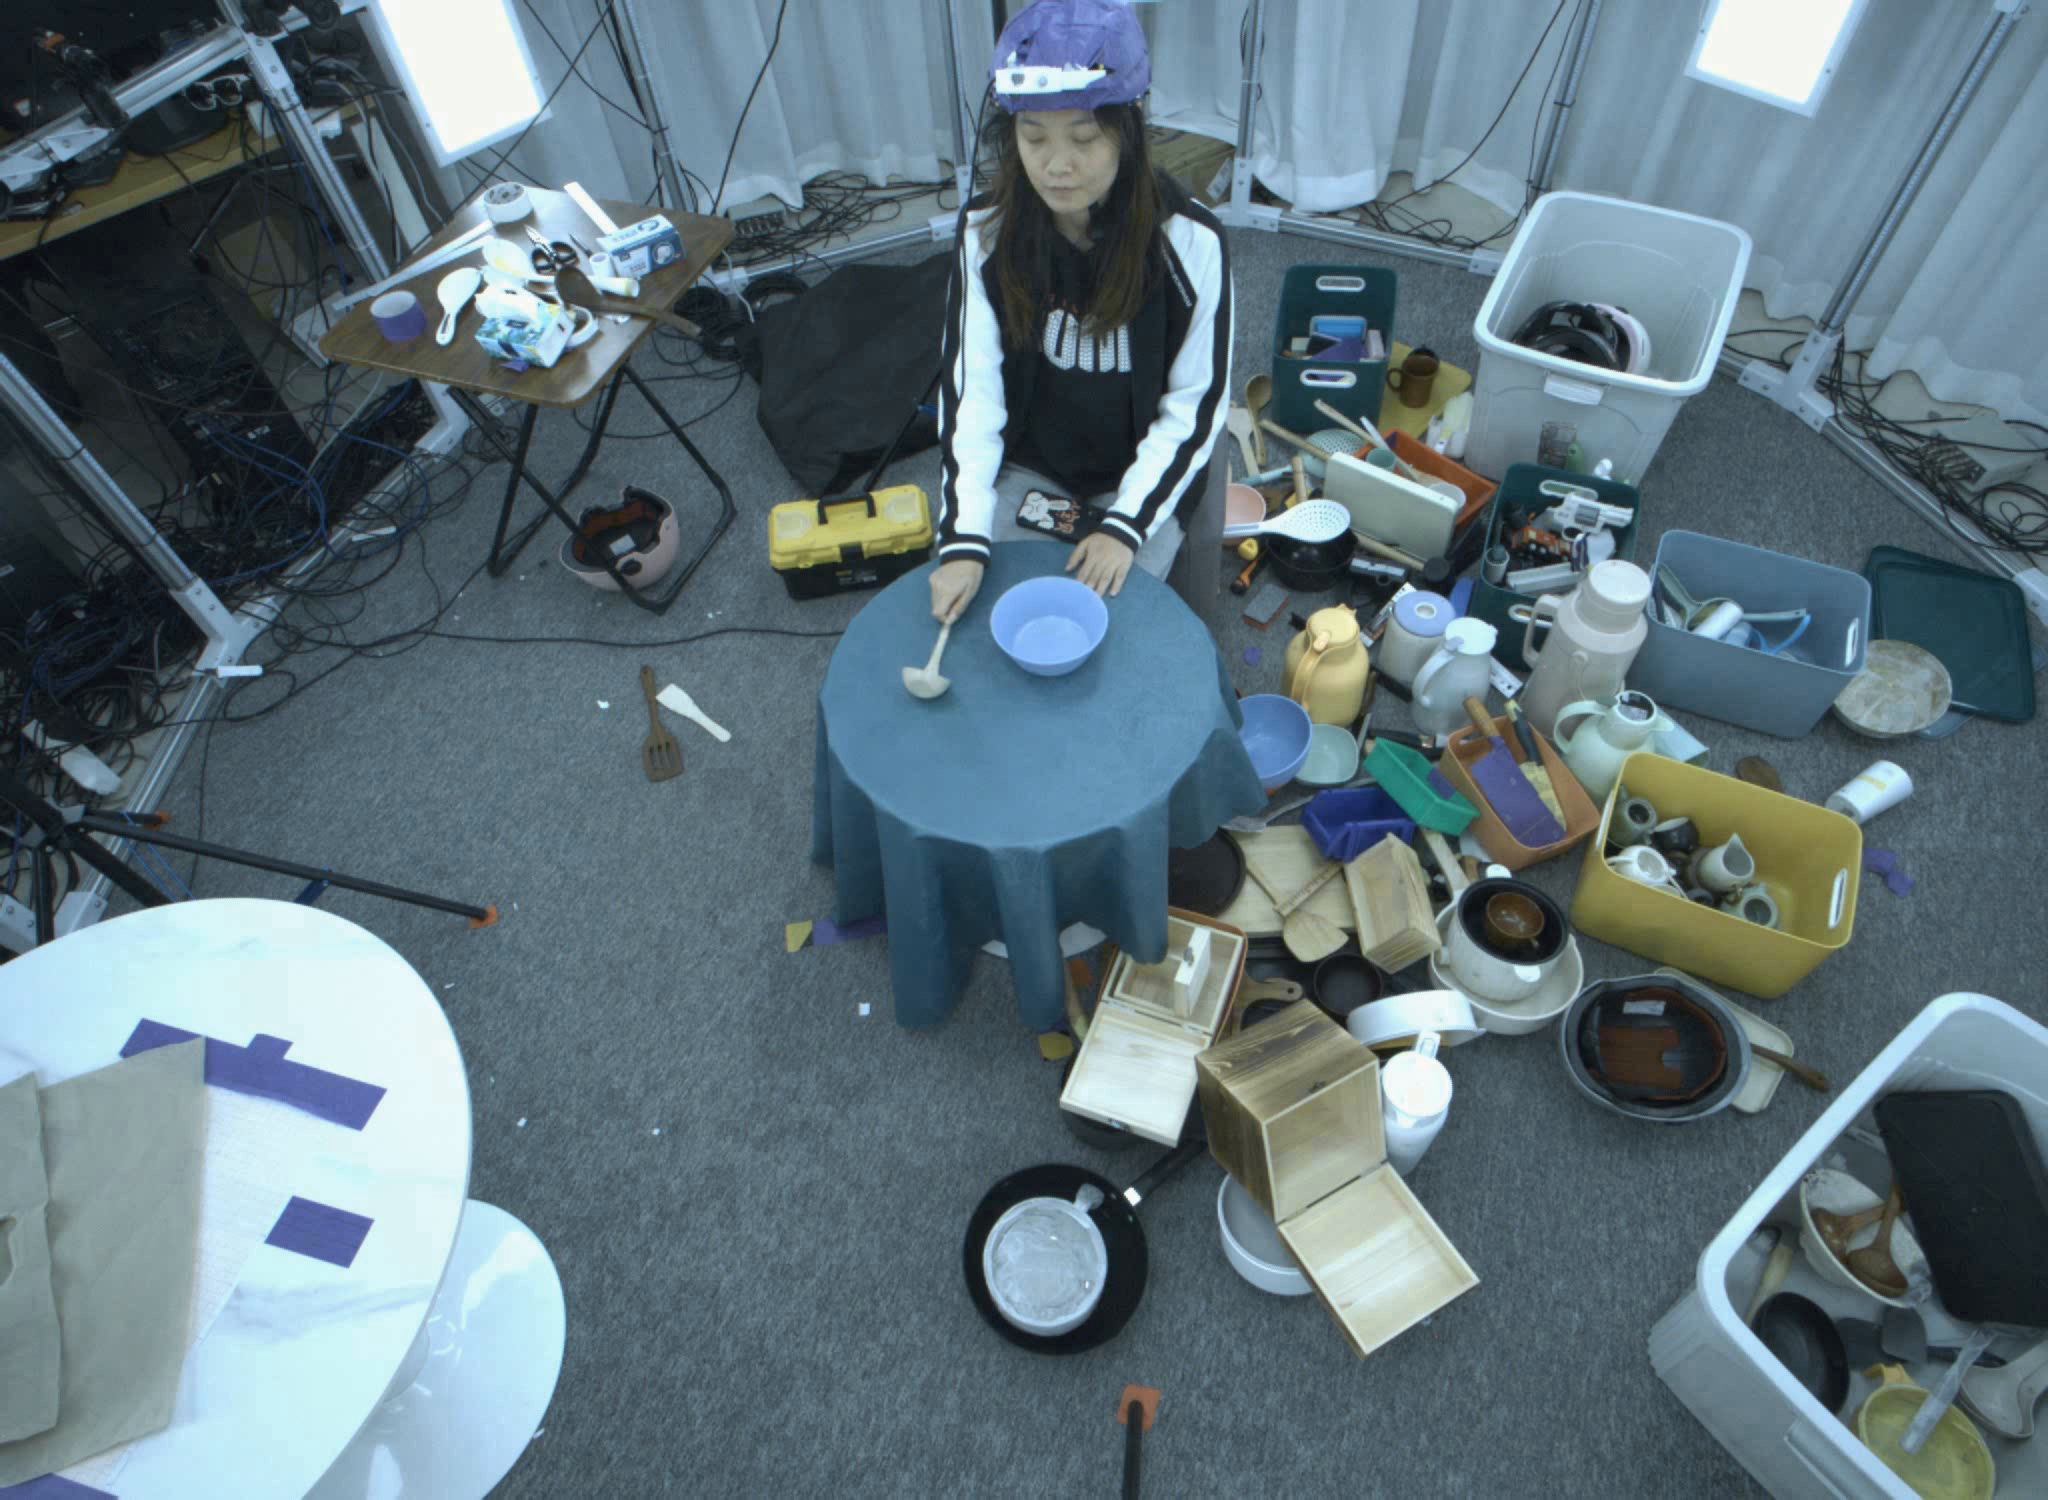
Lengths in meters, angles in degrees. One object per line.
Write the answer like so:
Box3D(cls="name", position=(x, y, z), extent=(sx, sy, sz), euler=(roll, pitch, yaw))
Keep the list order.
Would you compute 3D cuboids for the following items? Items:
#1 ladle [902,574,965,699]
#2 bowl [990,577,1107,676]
Box3D(cls="ladle", position=(-0.125, -0.192, 1.874), extent=(0.072, 0.073, 0.253), euler=(14, 61, 0))
Box3D(cls="bowl", position=(0.037, -0.178, 1.870), extent=(0.176, 0.071, 0.174), euler=(0, 55, 1))
